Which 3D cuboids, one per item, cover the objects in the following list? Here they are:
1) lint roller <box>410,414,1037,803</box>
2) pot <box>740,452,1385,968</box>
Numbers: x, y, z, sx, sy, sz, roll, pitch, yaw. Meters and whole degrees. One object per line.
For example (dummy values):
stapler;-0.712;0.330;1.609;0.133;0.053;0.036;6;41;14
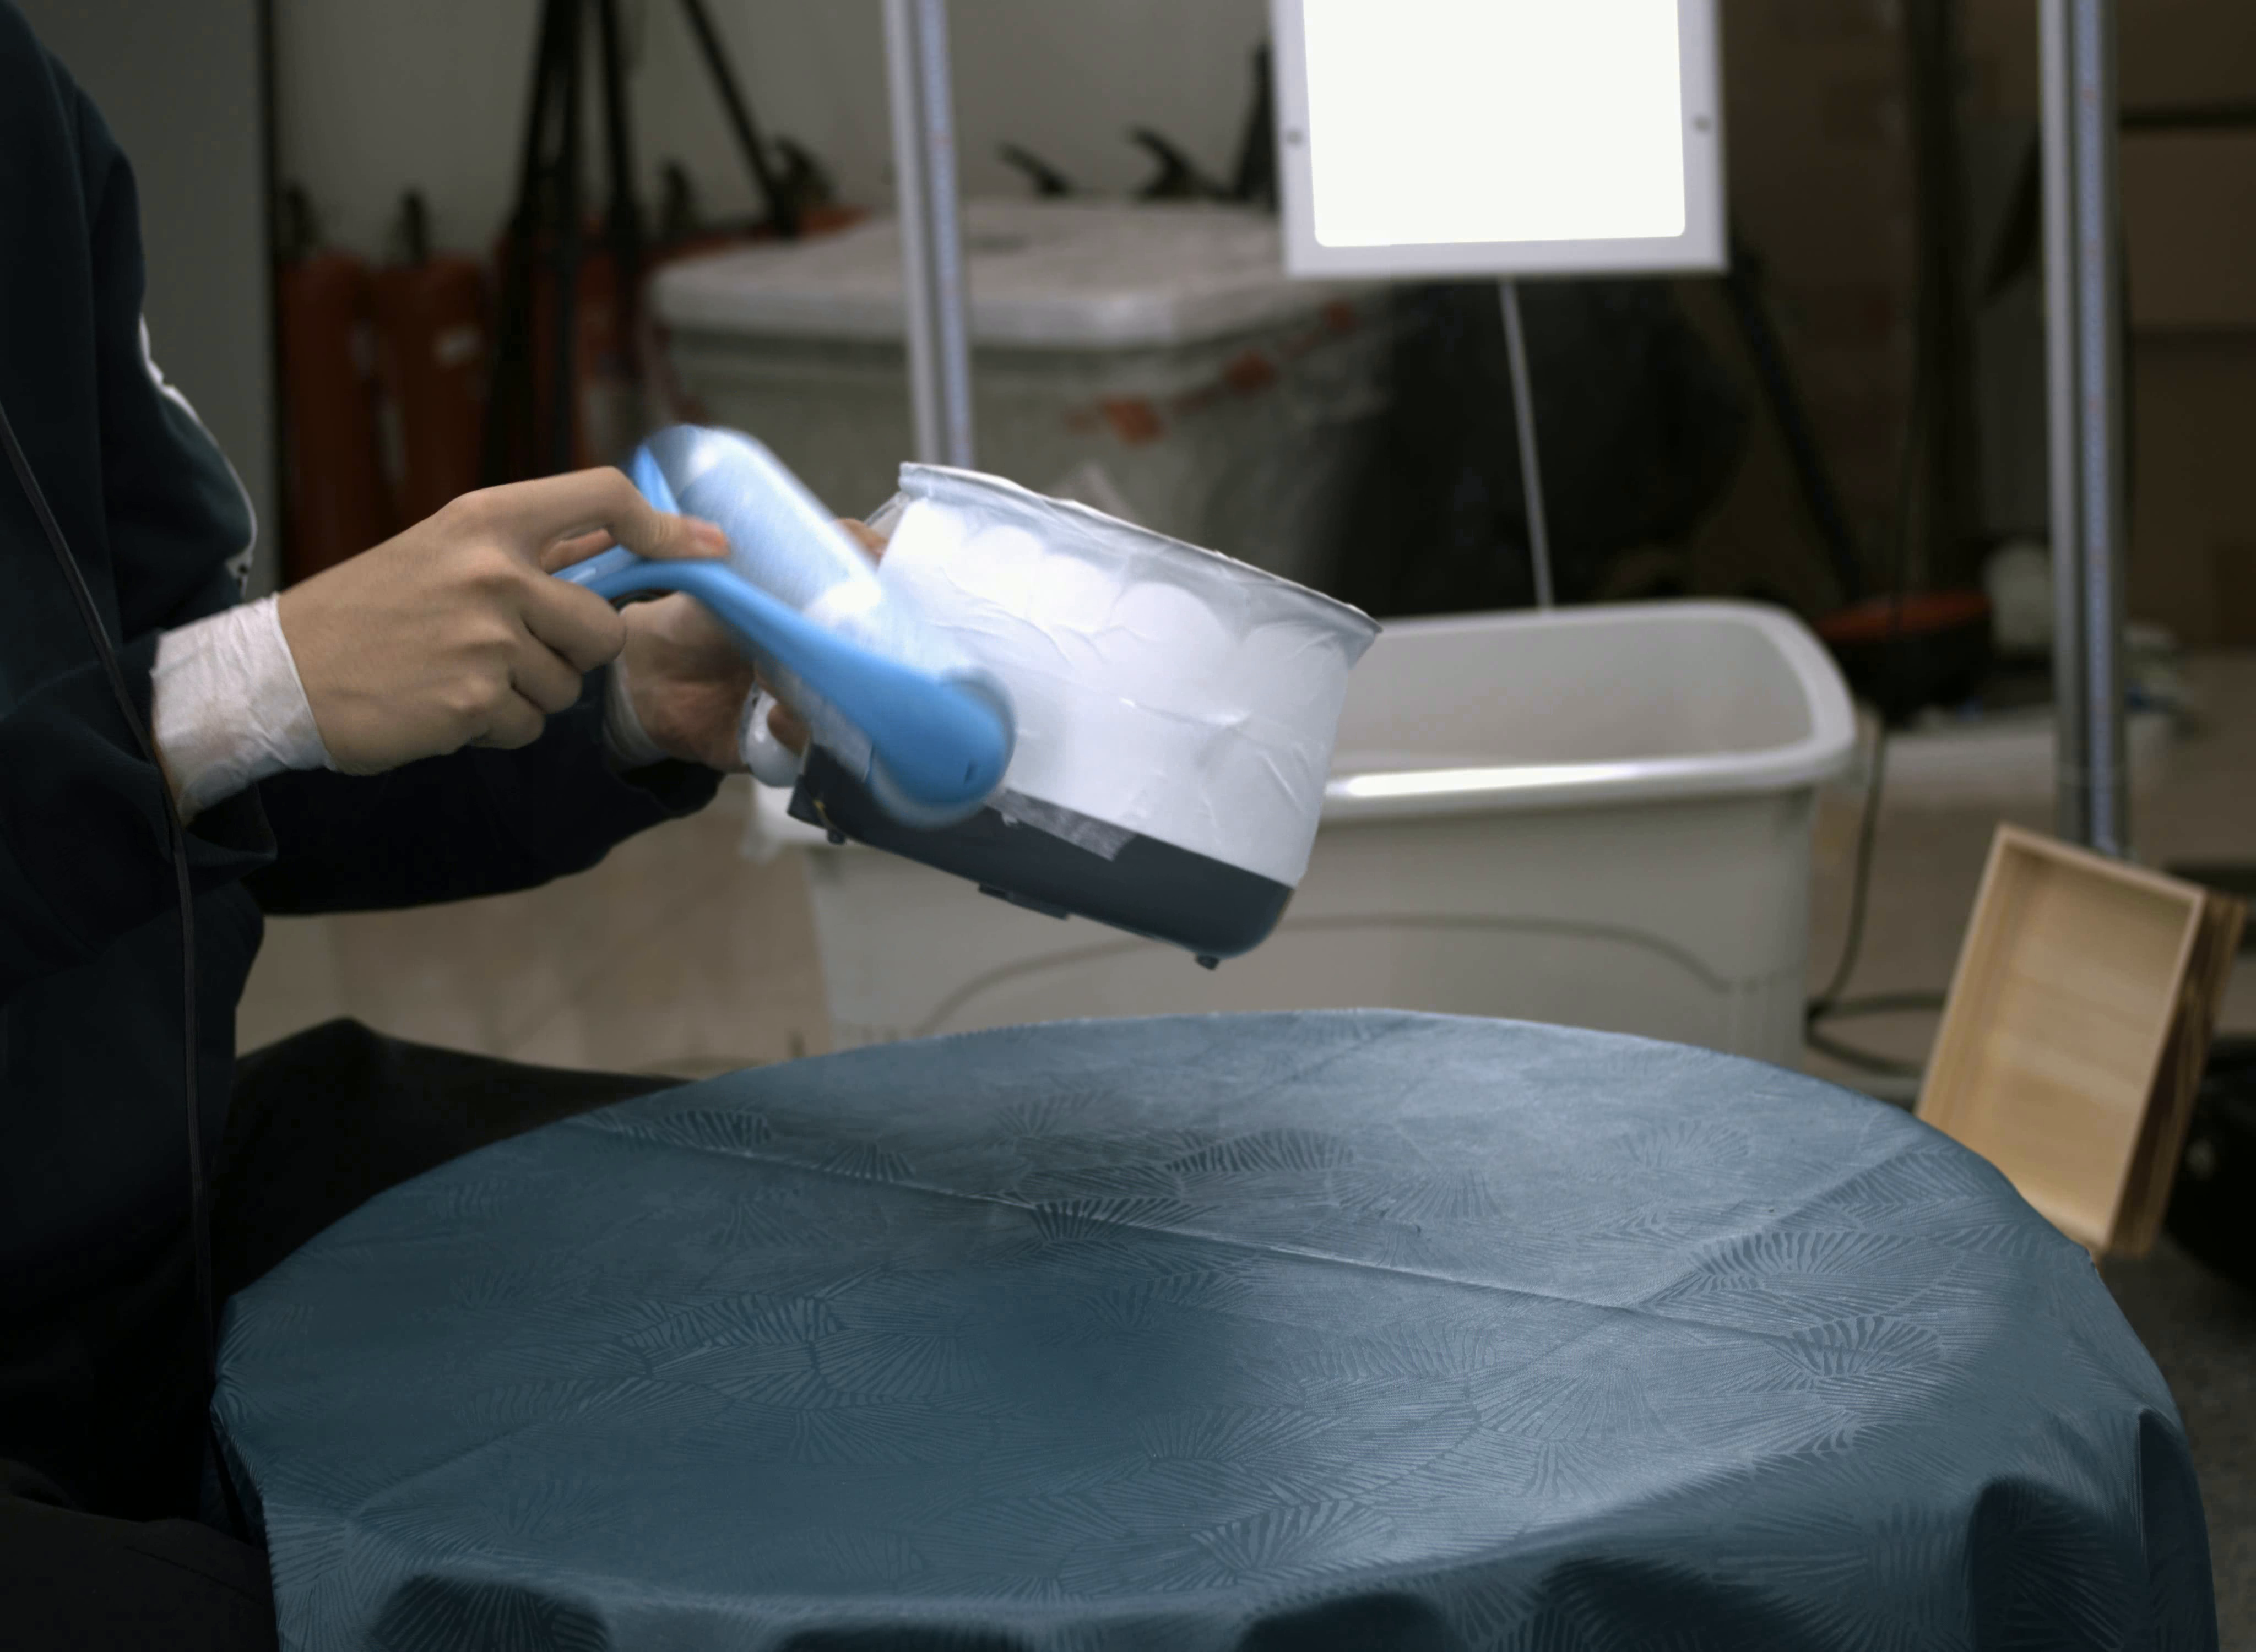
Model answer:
lint roller;-0.148;-0.065;1.809;0.176;0.068;0.232;-11;33;-27
pot;-0.036;-0.045;1.914;0.238;0.137;0.175;19;-1;41
